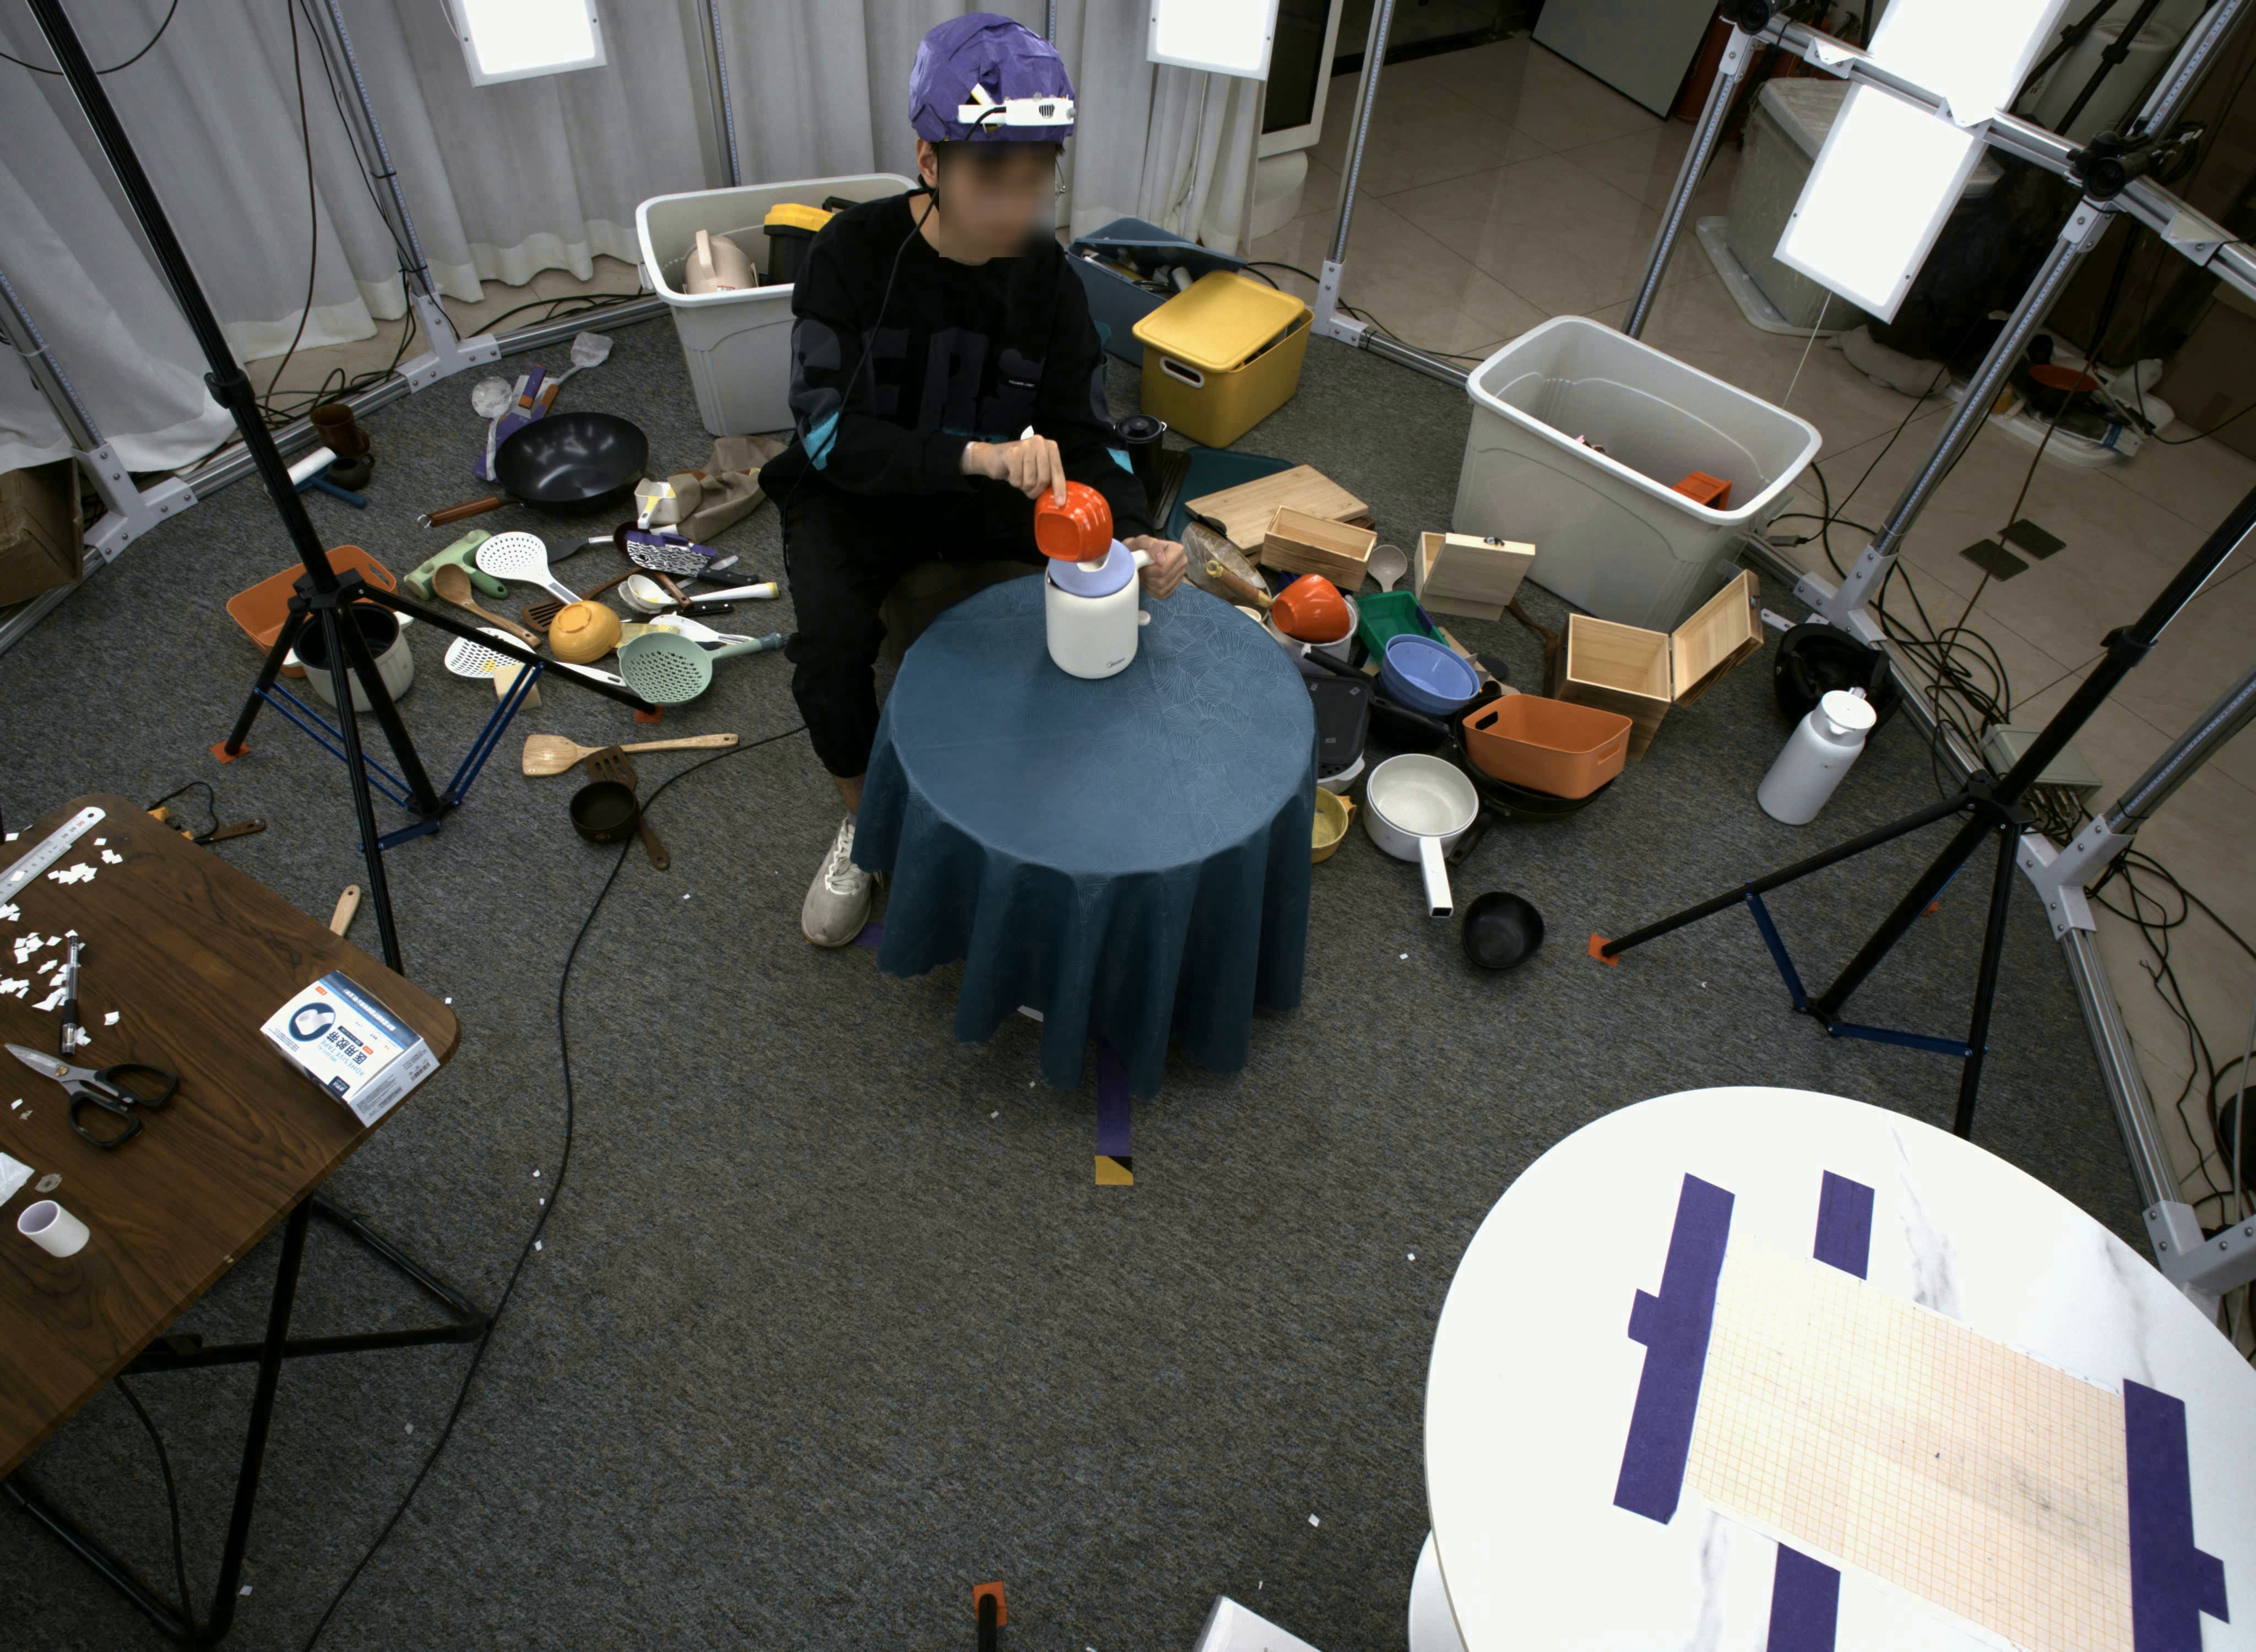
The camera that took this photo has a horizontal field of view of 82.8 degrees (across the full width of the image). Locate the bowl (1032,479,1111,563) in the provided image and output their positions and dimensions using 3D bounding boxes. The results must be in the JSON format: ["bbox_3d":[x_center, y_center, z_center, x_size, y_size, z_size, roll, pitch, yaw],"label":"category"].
[{"bbox_3d":[-0.081,-0.383,1.659,0.120,0.116,0.052,26,47,17],"label":"bowl"}]

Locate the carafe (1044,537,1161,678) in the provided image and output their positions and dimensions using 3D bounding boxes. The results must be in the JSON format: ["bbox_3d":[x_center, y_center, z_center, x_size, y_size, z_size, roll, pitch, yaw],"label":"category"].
[{"bbox_3d":[-0.032,-0.321,1.826,0.192,0.178,0.135,-26,60,-21],"label":"carafe"}]
